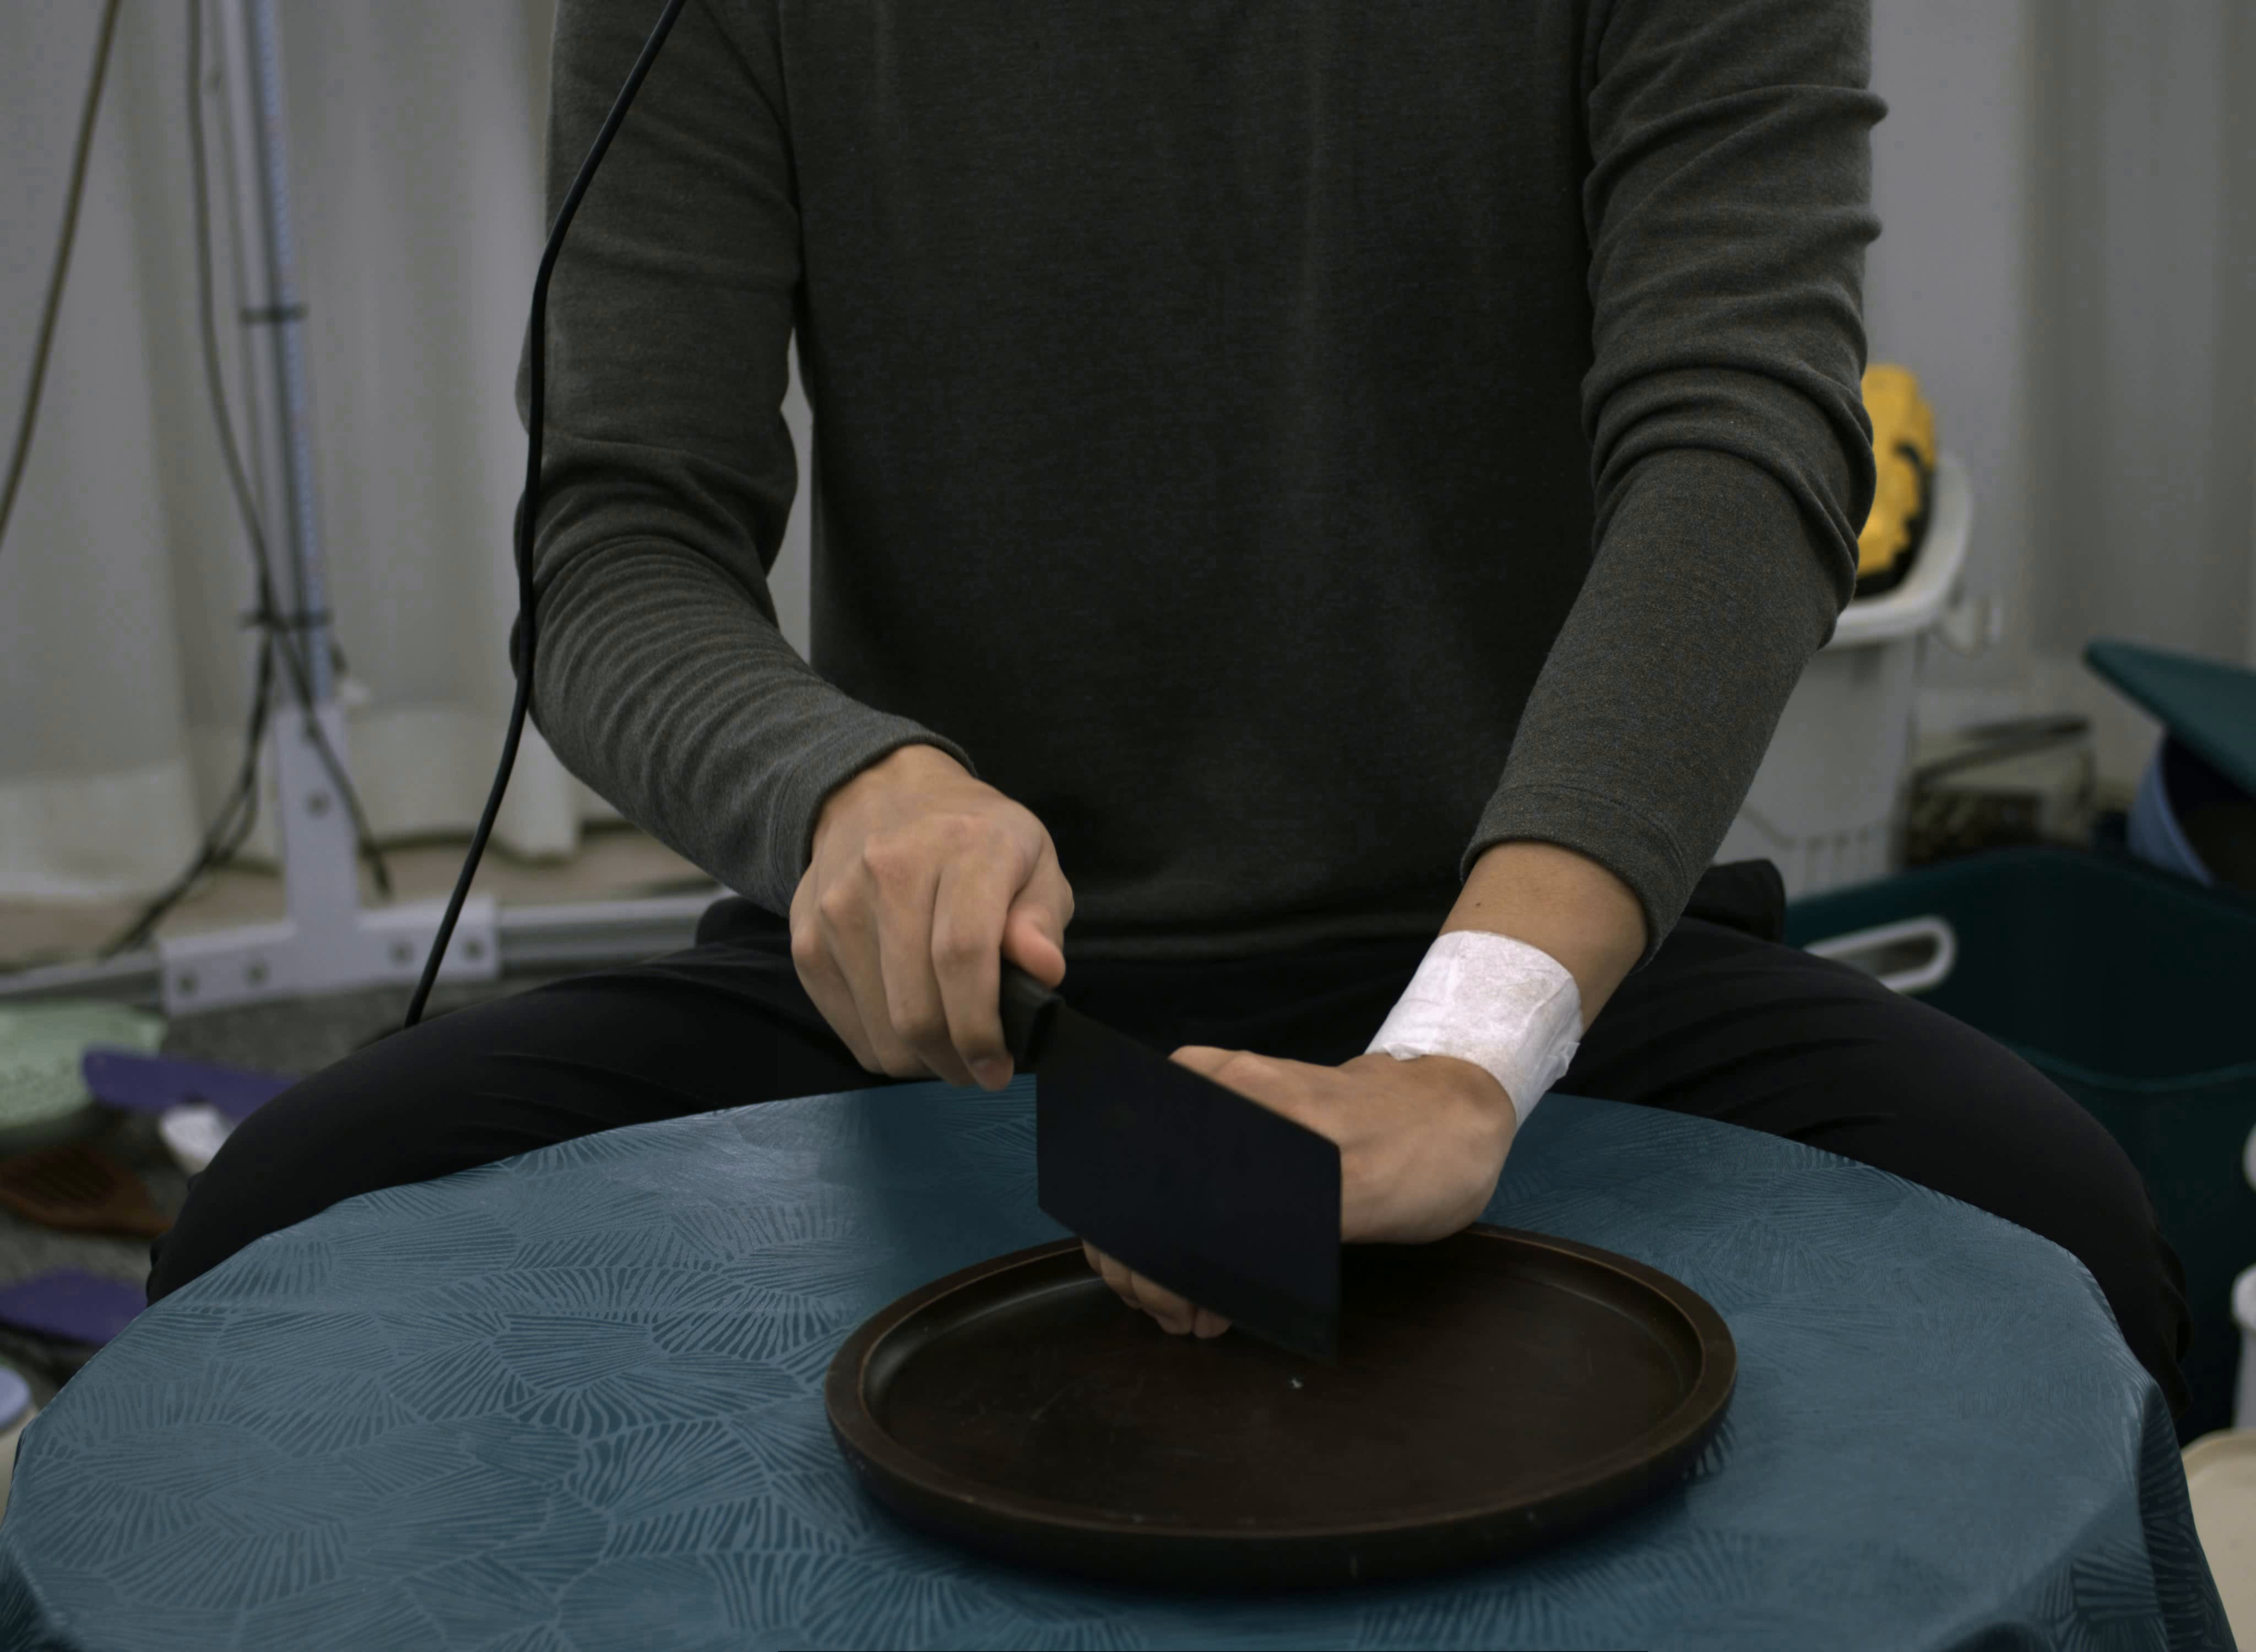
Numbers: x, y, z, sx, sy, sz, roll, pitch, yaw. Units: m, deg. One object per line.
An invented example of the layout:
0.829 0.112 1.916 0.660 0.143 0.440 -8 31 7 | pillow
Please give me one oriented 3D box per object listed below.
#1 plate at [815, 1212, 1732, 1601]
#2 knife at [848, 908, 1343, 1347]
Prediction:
0.040 0.157 1.507 0.254 0.029 0.256 -4 15 1 | plate
-0.012 0.078 1.551 0.021 0.080 0.305 -3 16 -26 | knife
